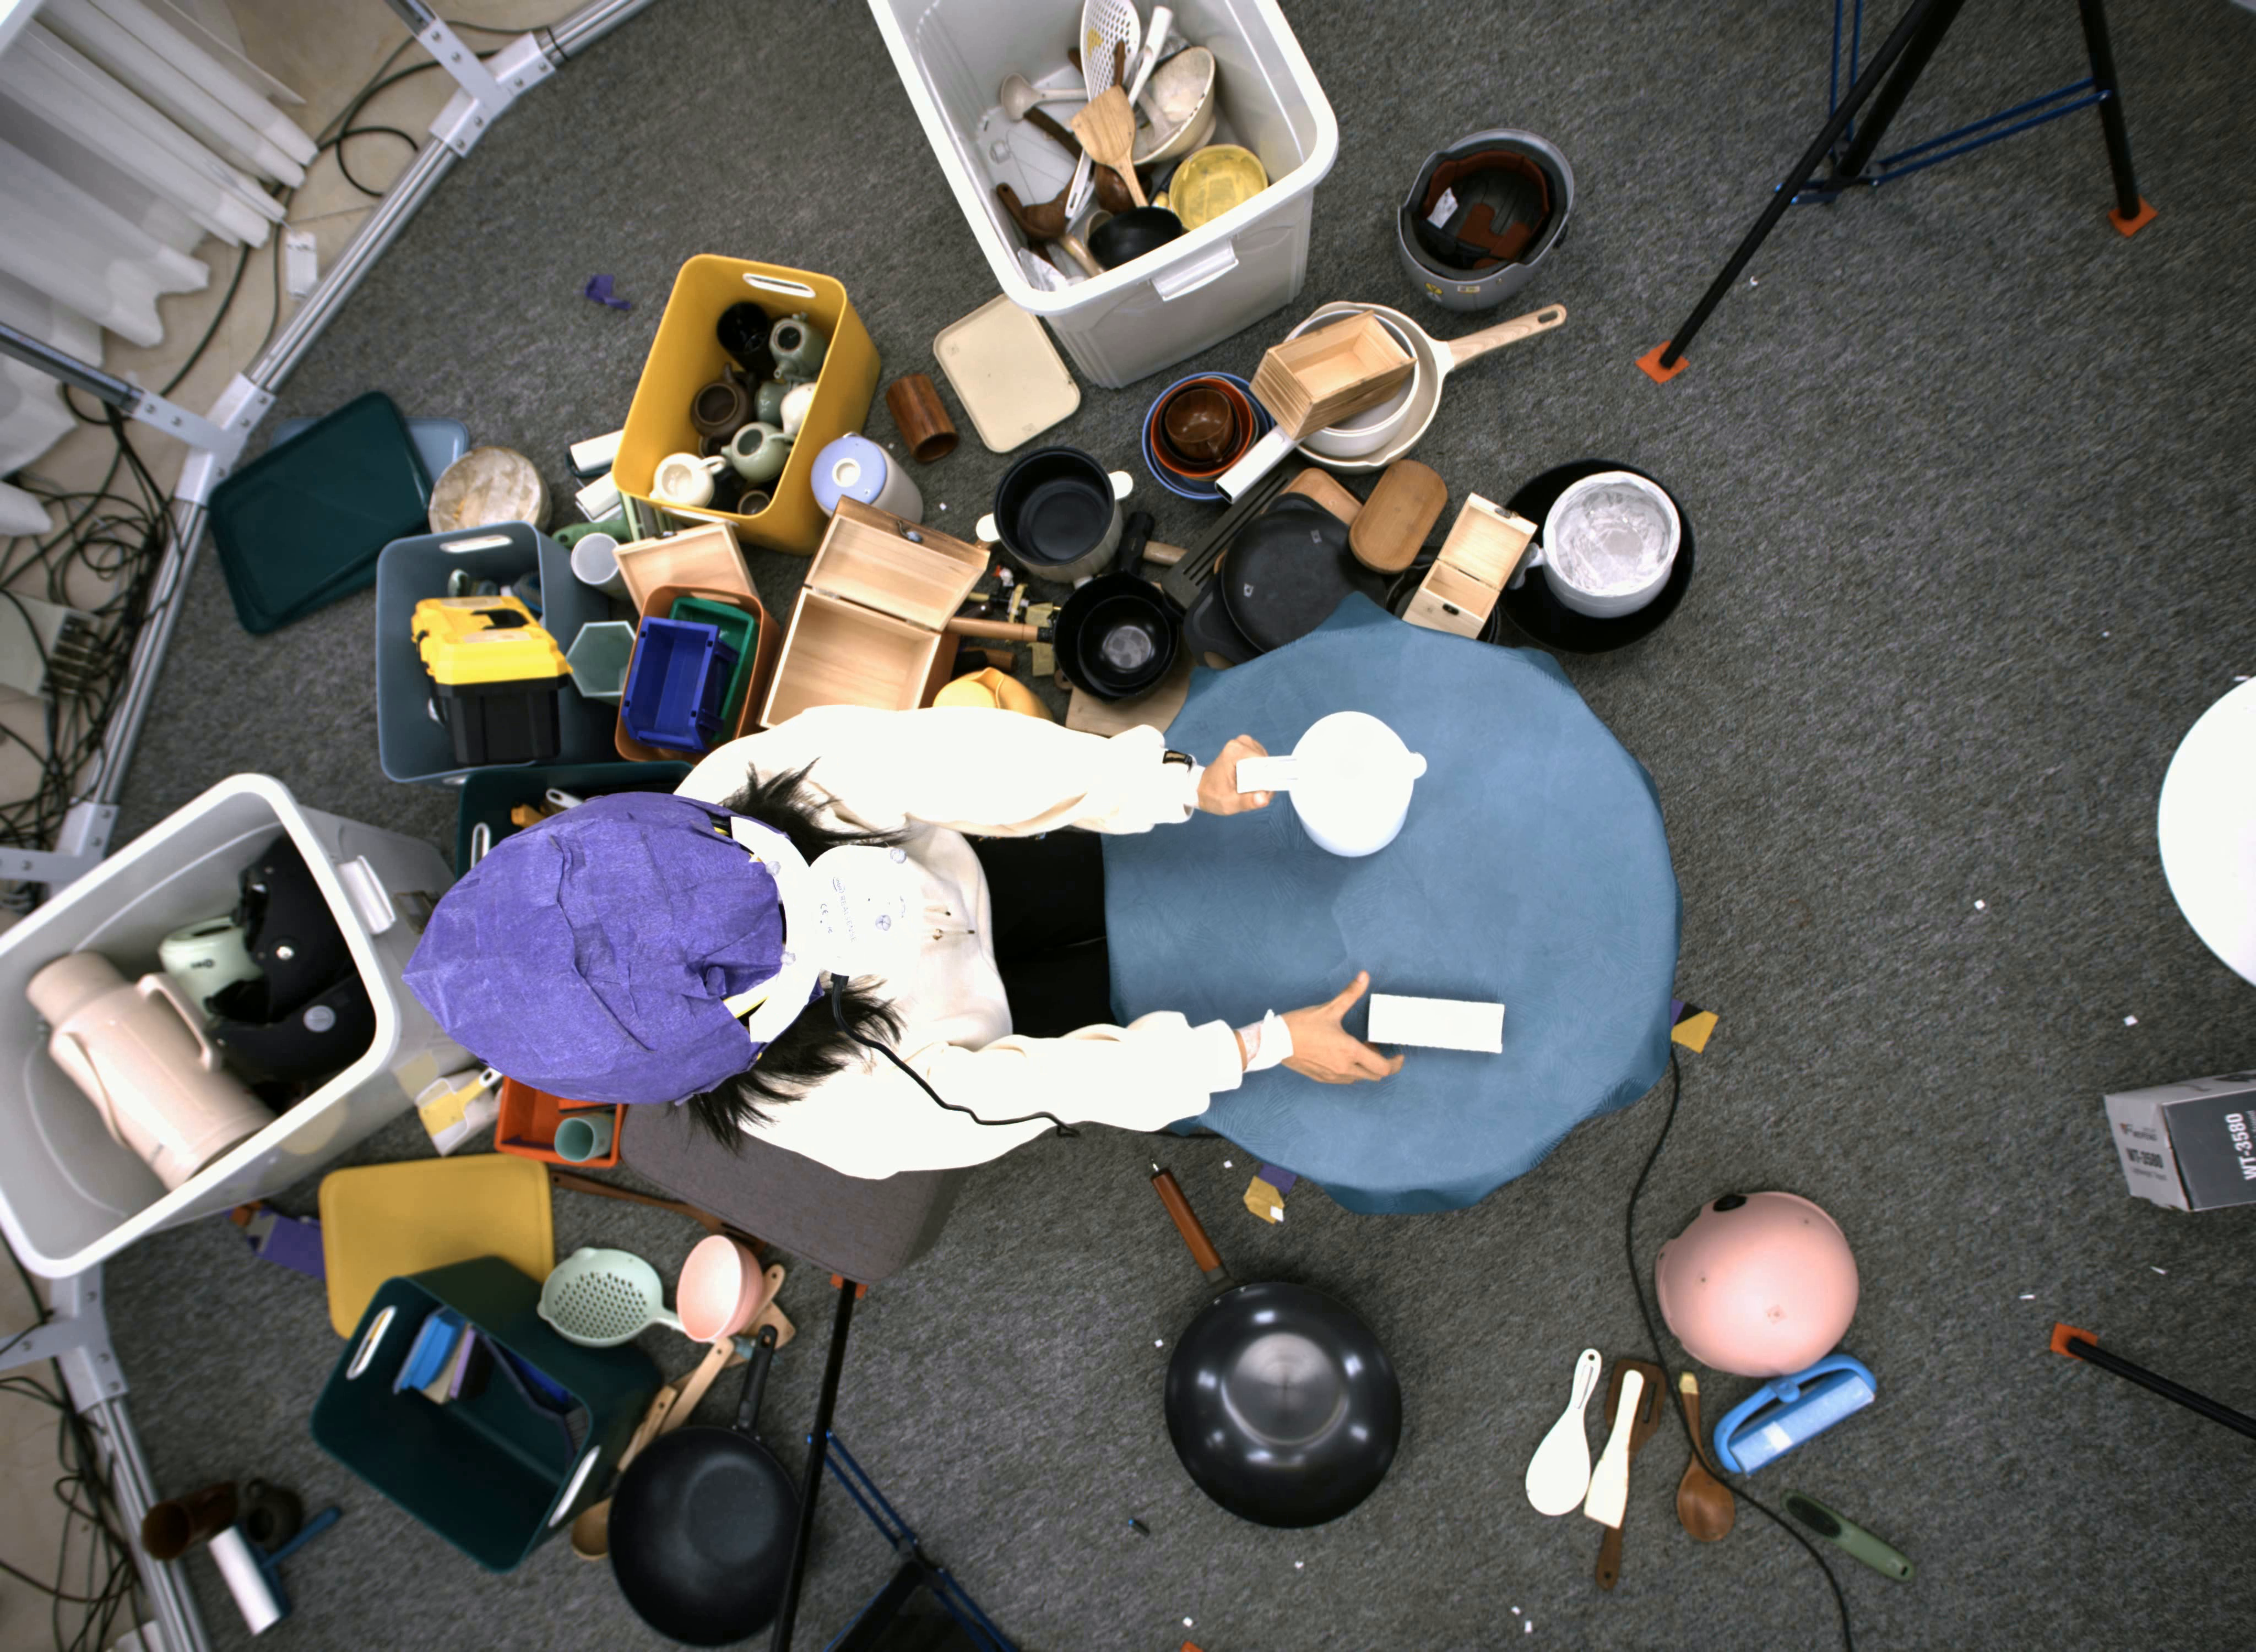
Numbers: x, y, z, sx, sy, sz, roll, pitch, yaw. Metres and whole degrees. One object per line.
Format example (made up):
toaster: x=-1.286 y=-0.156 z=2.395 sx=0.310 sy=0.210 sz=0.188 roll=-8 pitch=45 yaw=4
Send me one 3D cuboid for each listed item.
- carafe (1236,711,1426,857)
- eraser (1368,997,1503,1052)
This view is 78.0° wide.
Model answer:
carafe: x=0.198 y=-0.038 z=1.345 sx=0.173 sy=0.269 sz=0.123 roll=-3 pitch=86 yaw=10
eraser: x=0.316 y=0.202 z=1.421 sx=0.135 sy=0.046 sz=0.049 roll=1 pitch=88 yaw=10
